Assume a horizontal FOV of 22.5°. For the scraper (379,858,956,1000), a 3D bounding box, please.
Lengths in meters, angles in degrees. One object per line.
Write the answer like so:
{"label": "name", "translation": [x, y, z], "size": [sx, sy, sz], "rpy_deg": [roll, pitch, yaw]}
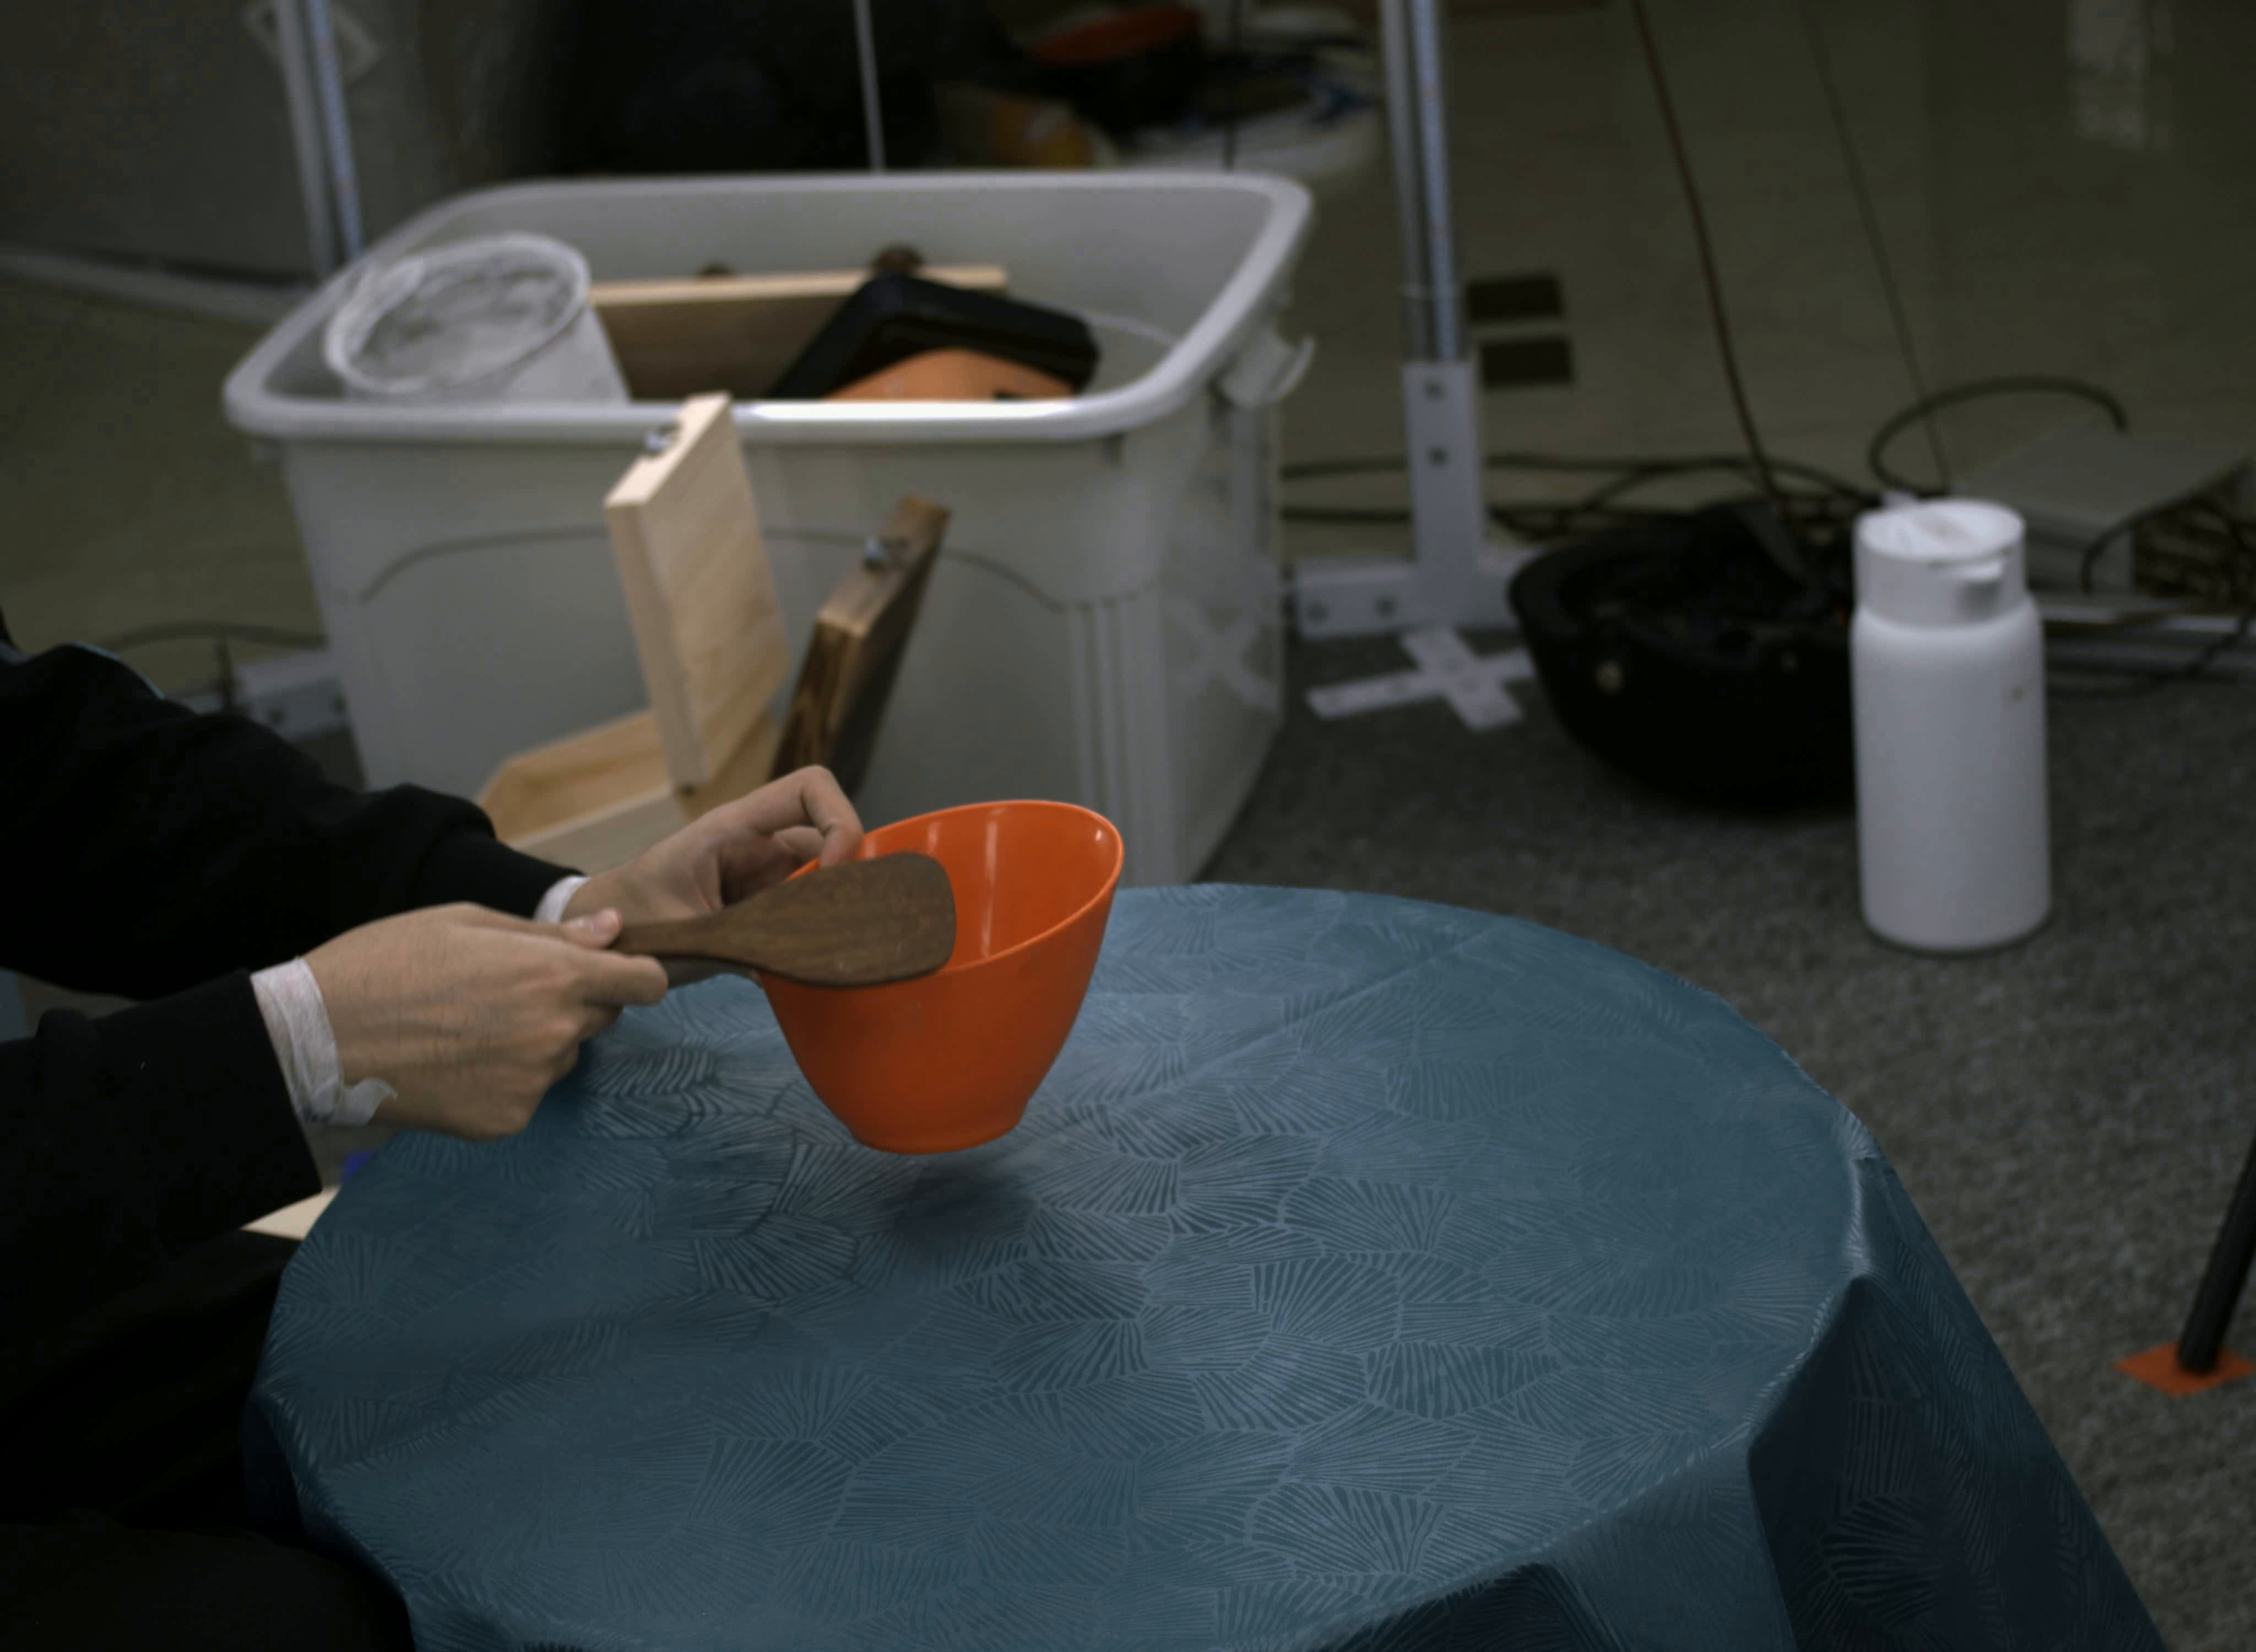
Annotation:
{"label": "scraper", "translation": [-0.168, 0.045, 2.068], "size": [0.211, 0.011, 0.074], "rpy_deg": [-5, 38, -2]}

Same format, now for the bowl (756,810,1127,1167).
{"label": "bowl", "translation": [-0.067, 0.067, 2.167], "size": [0.148, 0.106, 0.146], "rpy_deg": [-6, 20, 2]}
